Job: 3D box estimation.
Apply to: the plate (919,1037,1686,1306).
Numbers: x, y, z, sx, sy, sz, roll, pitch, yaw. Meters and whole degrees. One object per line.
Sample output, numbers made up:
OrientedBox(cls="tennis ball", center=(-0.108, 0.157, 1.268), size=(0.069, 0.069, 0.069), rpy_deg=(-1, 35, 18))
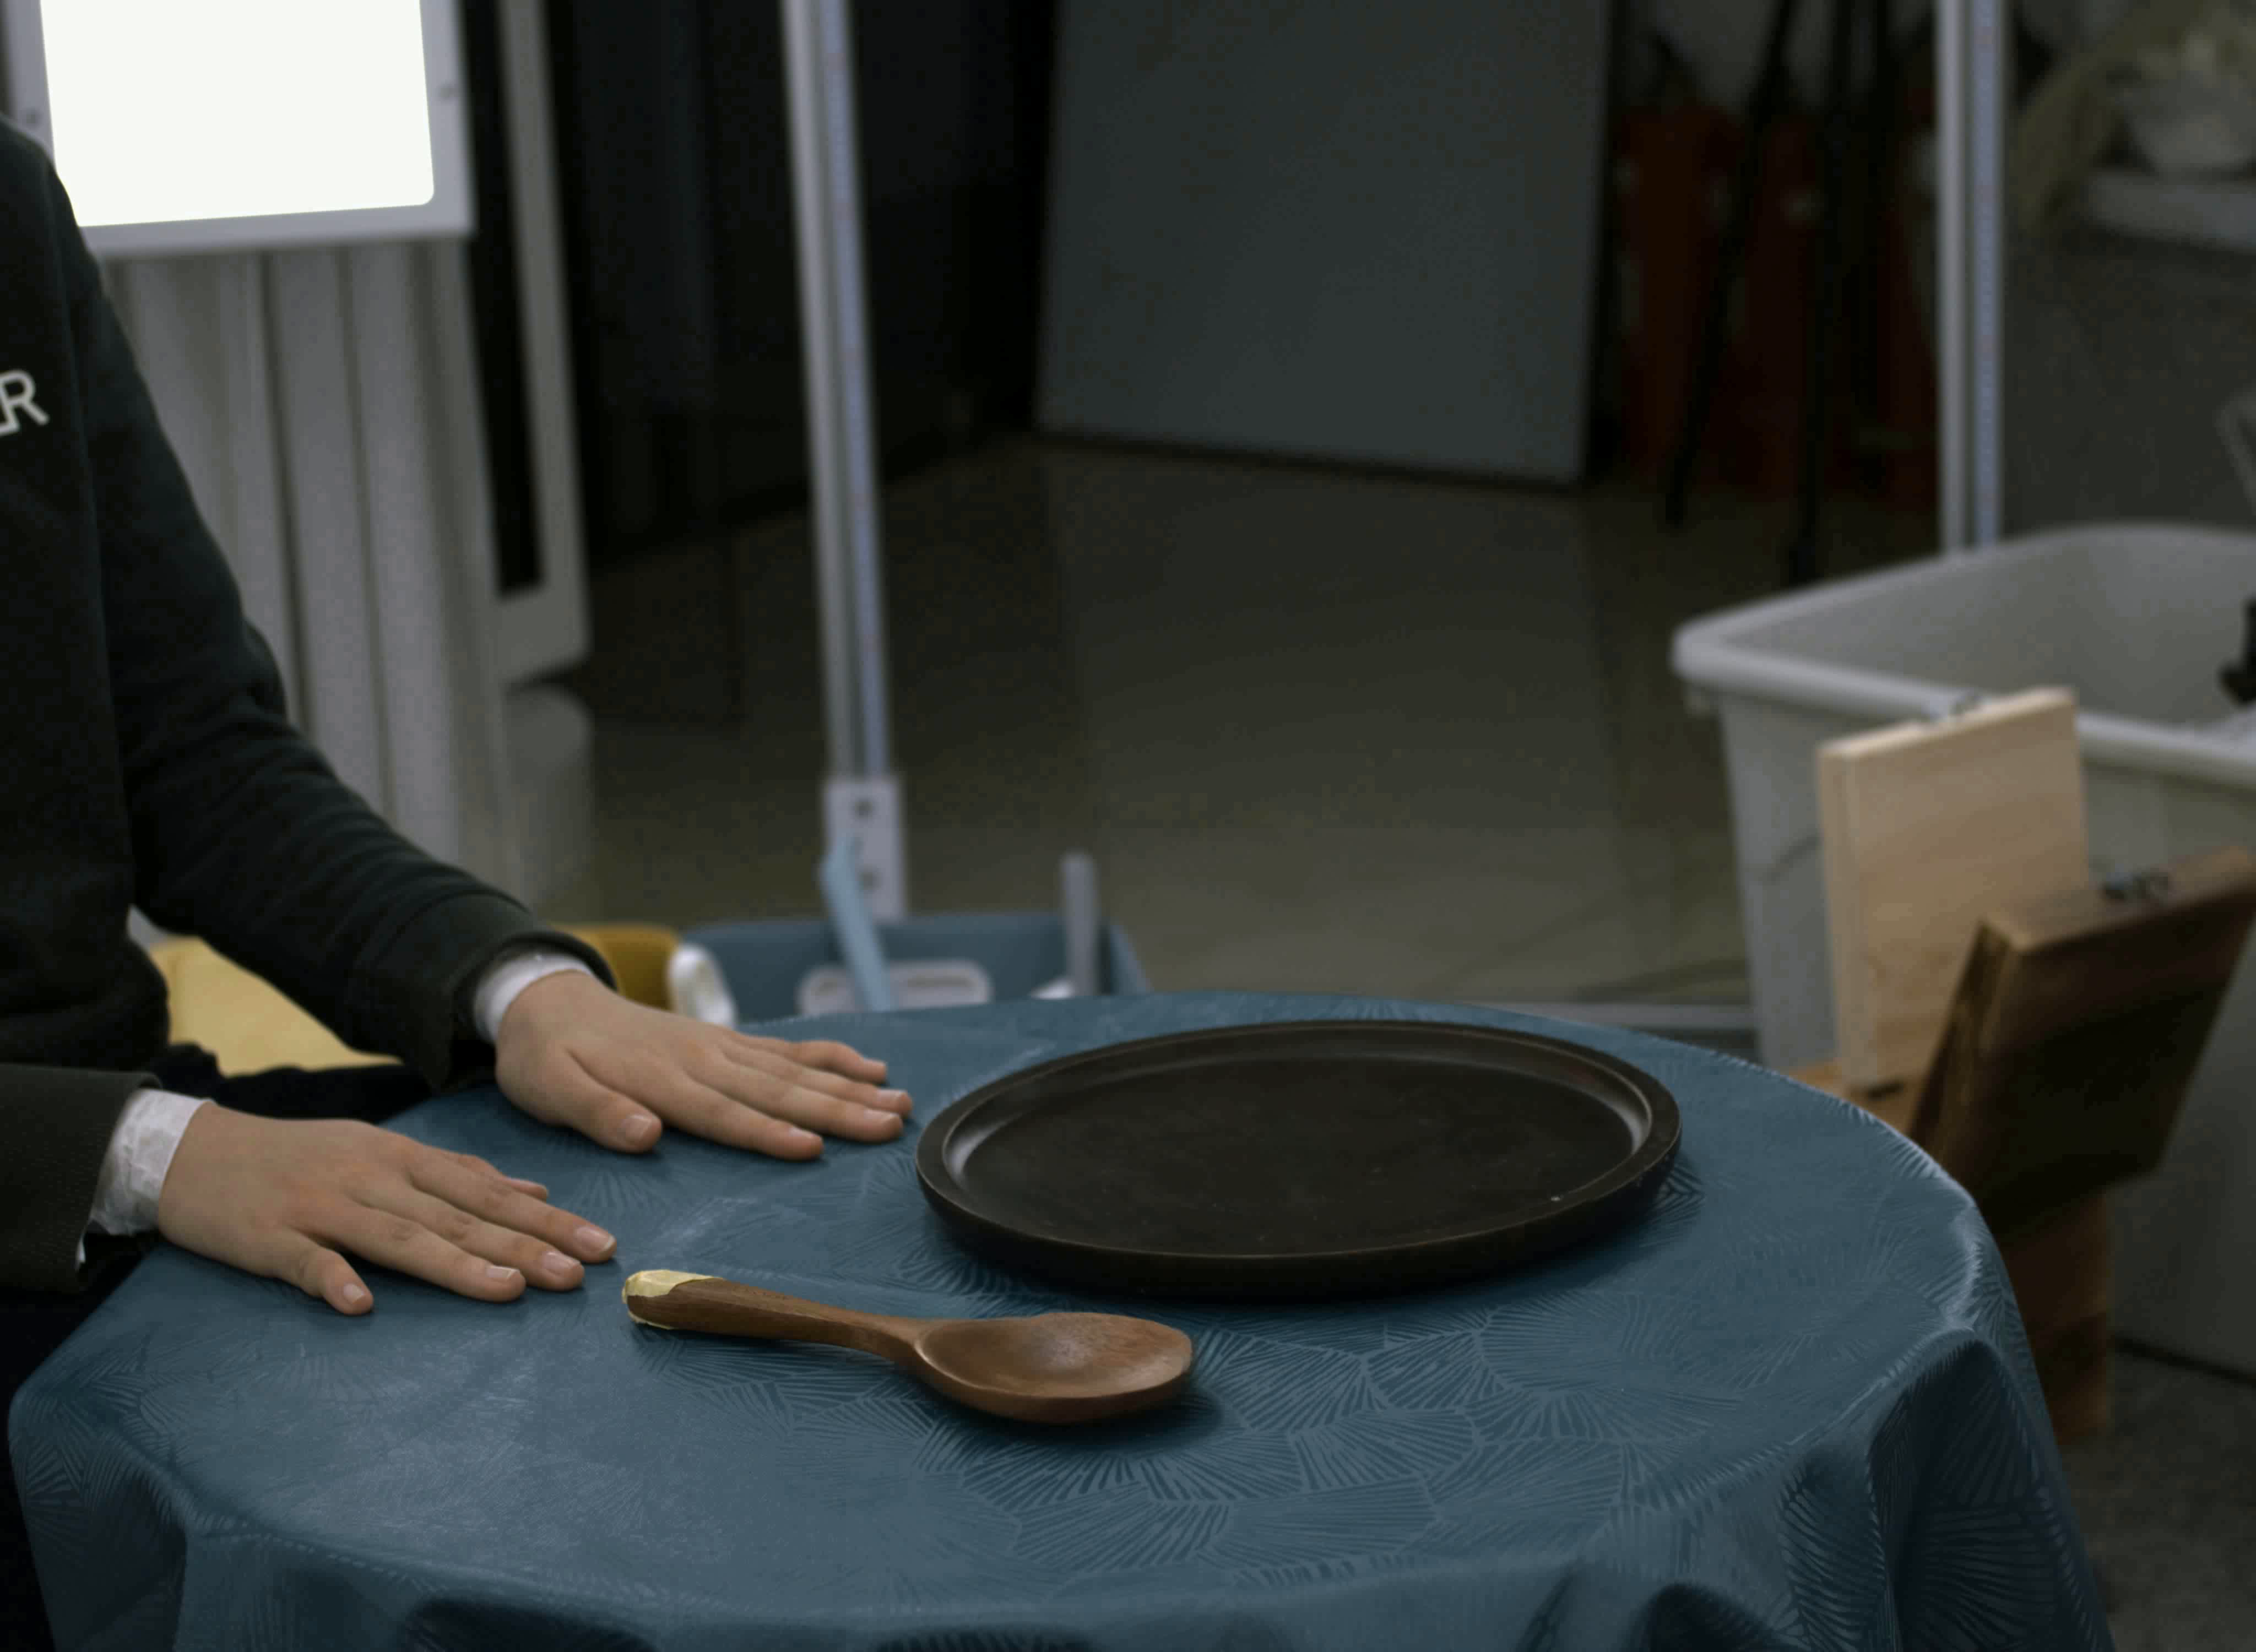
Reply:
OrientedBox(cls="plate", center=(0.056, 0.110, 1.756), size=(0.251, 0.029, 0.255), rpy_deg=(-3, 14, 0))

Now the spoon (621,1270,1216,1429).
OrientedBox(cls="spoon", center=(-0.067, 0.155, 1.617), size=(0.217, 0.017, 0.074), rpy_deg=(7, 18, 37))
